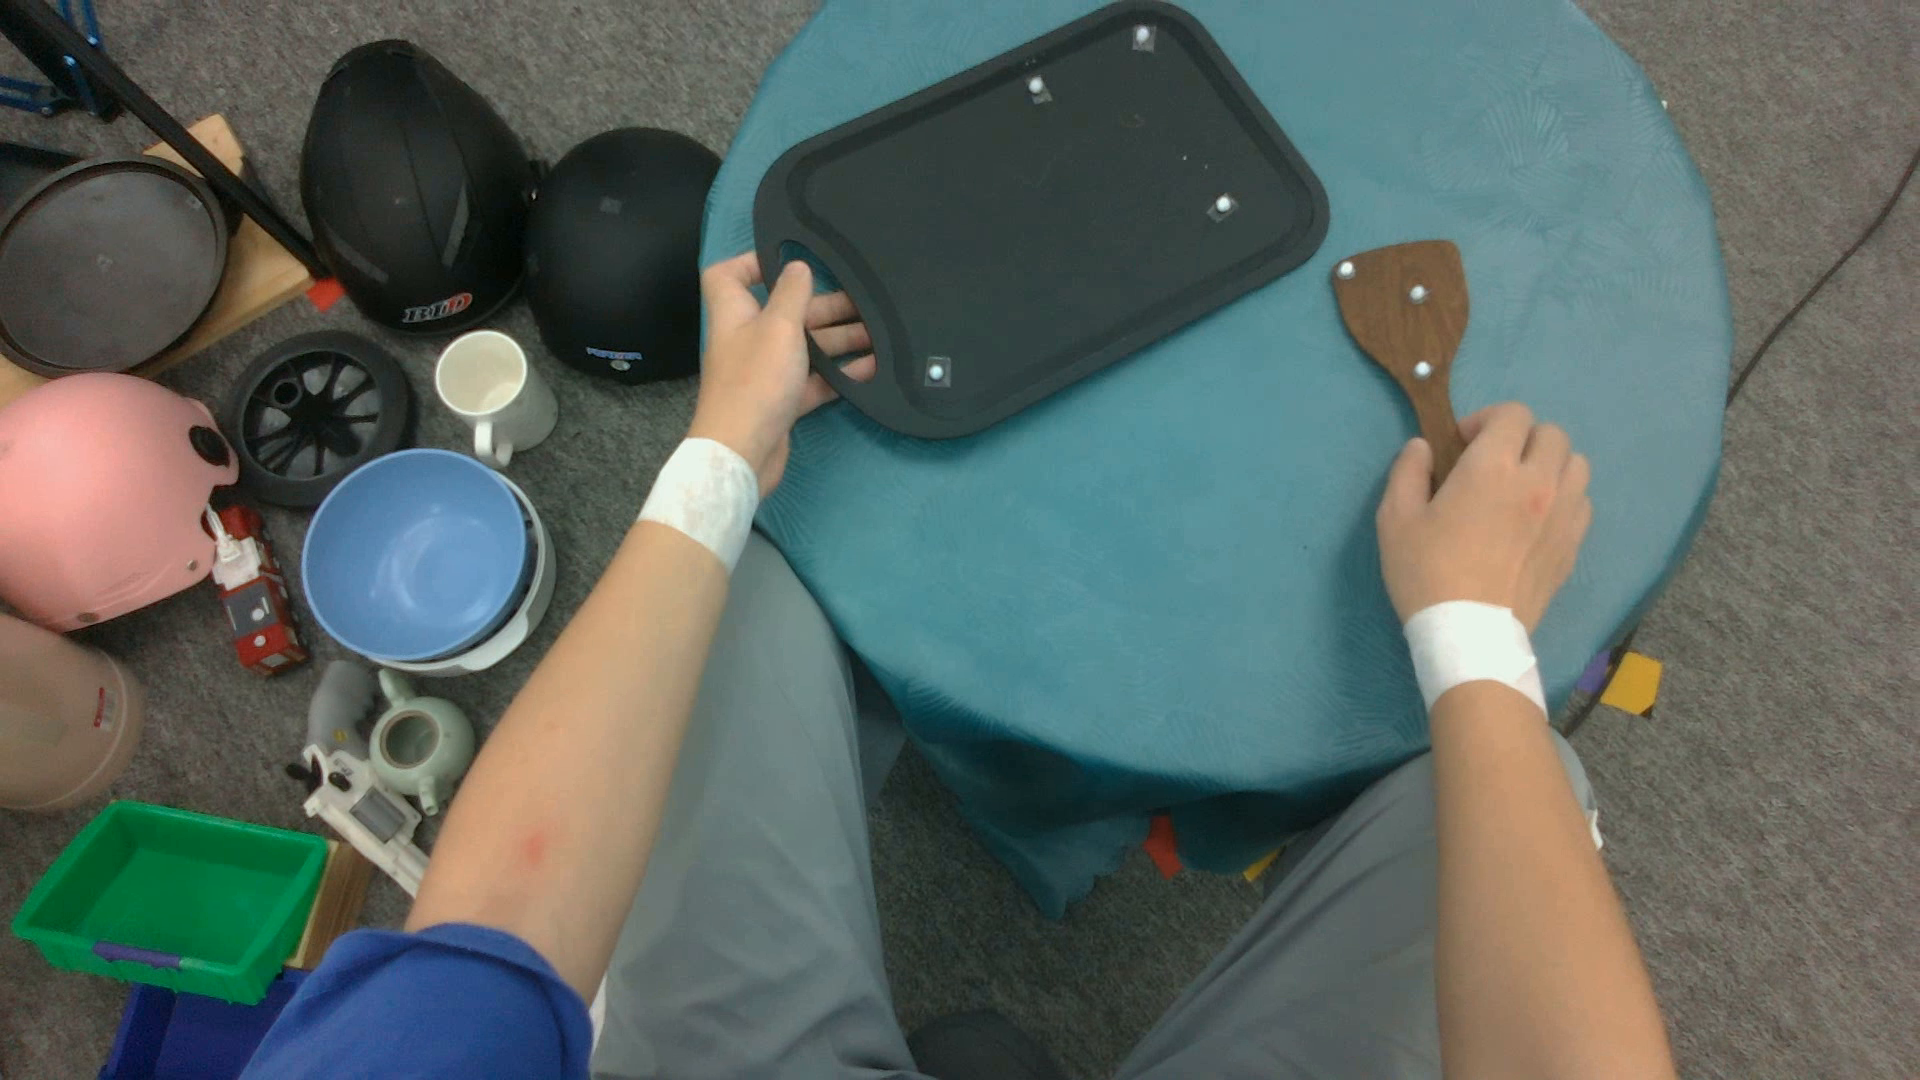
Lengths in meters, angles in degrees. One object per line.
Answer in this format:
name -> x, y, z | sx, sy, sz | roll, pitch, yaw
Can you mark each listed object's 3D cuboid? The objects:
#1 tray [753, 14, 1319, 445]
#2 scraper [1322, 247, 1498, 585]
tray -> 0.042, -0.190, 0.818 | 0.326, 0.010, 0.211 | -28, 74, -12
scraper -> 0.263, -0.073, 0.779 | 0.076, 0.011, 0.212 | -9, 67, 2
